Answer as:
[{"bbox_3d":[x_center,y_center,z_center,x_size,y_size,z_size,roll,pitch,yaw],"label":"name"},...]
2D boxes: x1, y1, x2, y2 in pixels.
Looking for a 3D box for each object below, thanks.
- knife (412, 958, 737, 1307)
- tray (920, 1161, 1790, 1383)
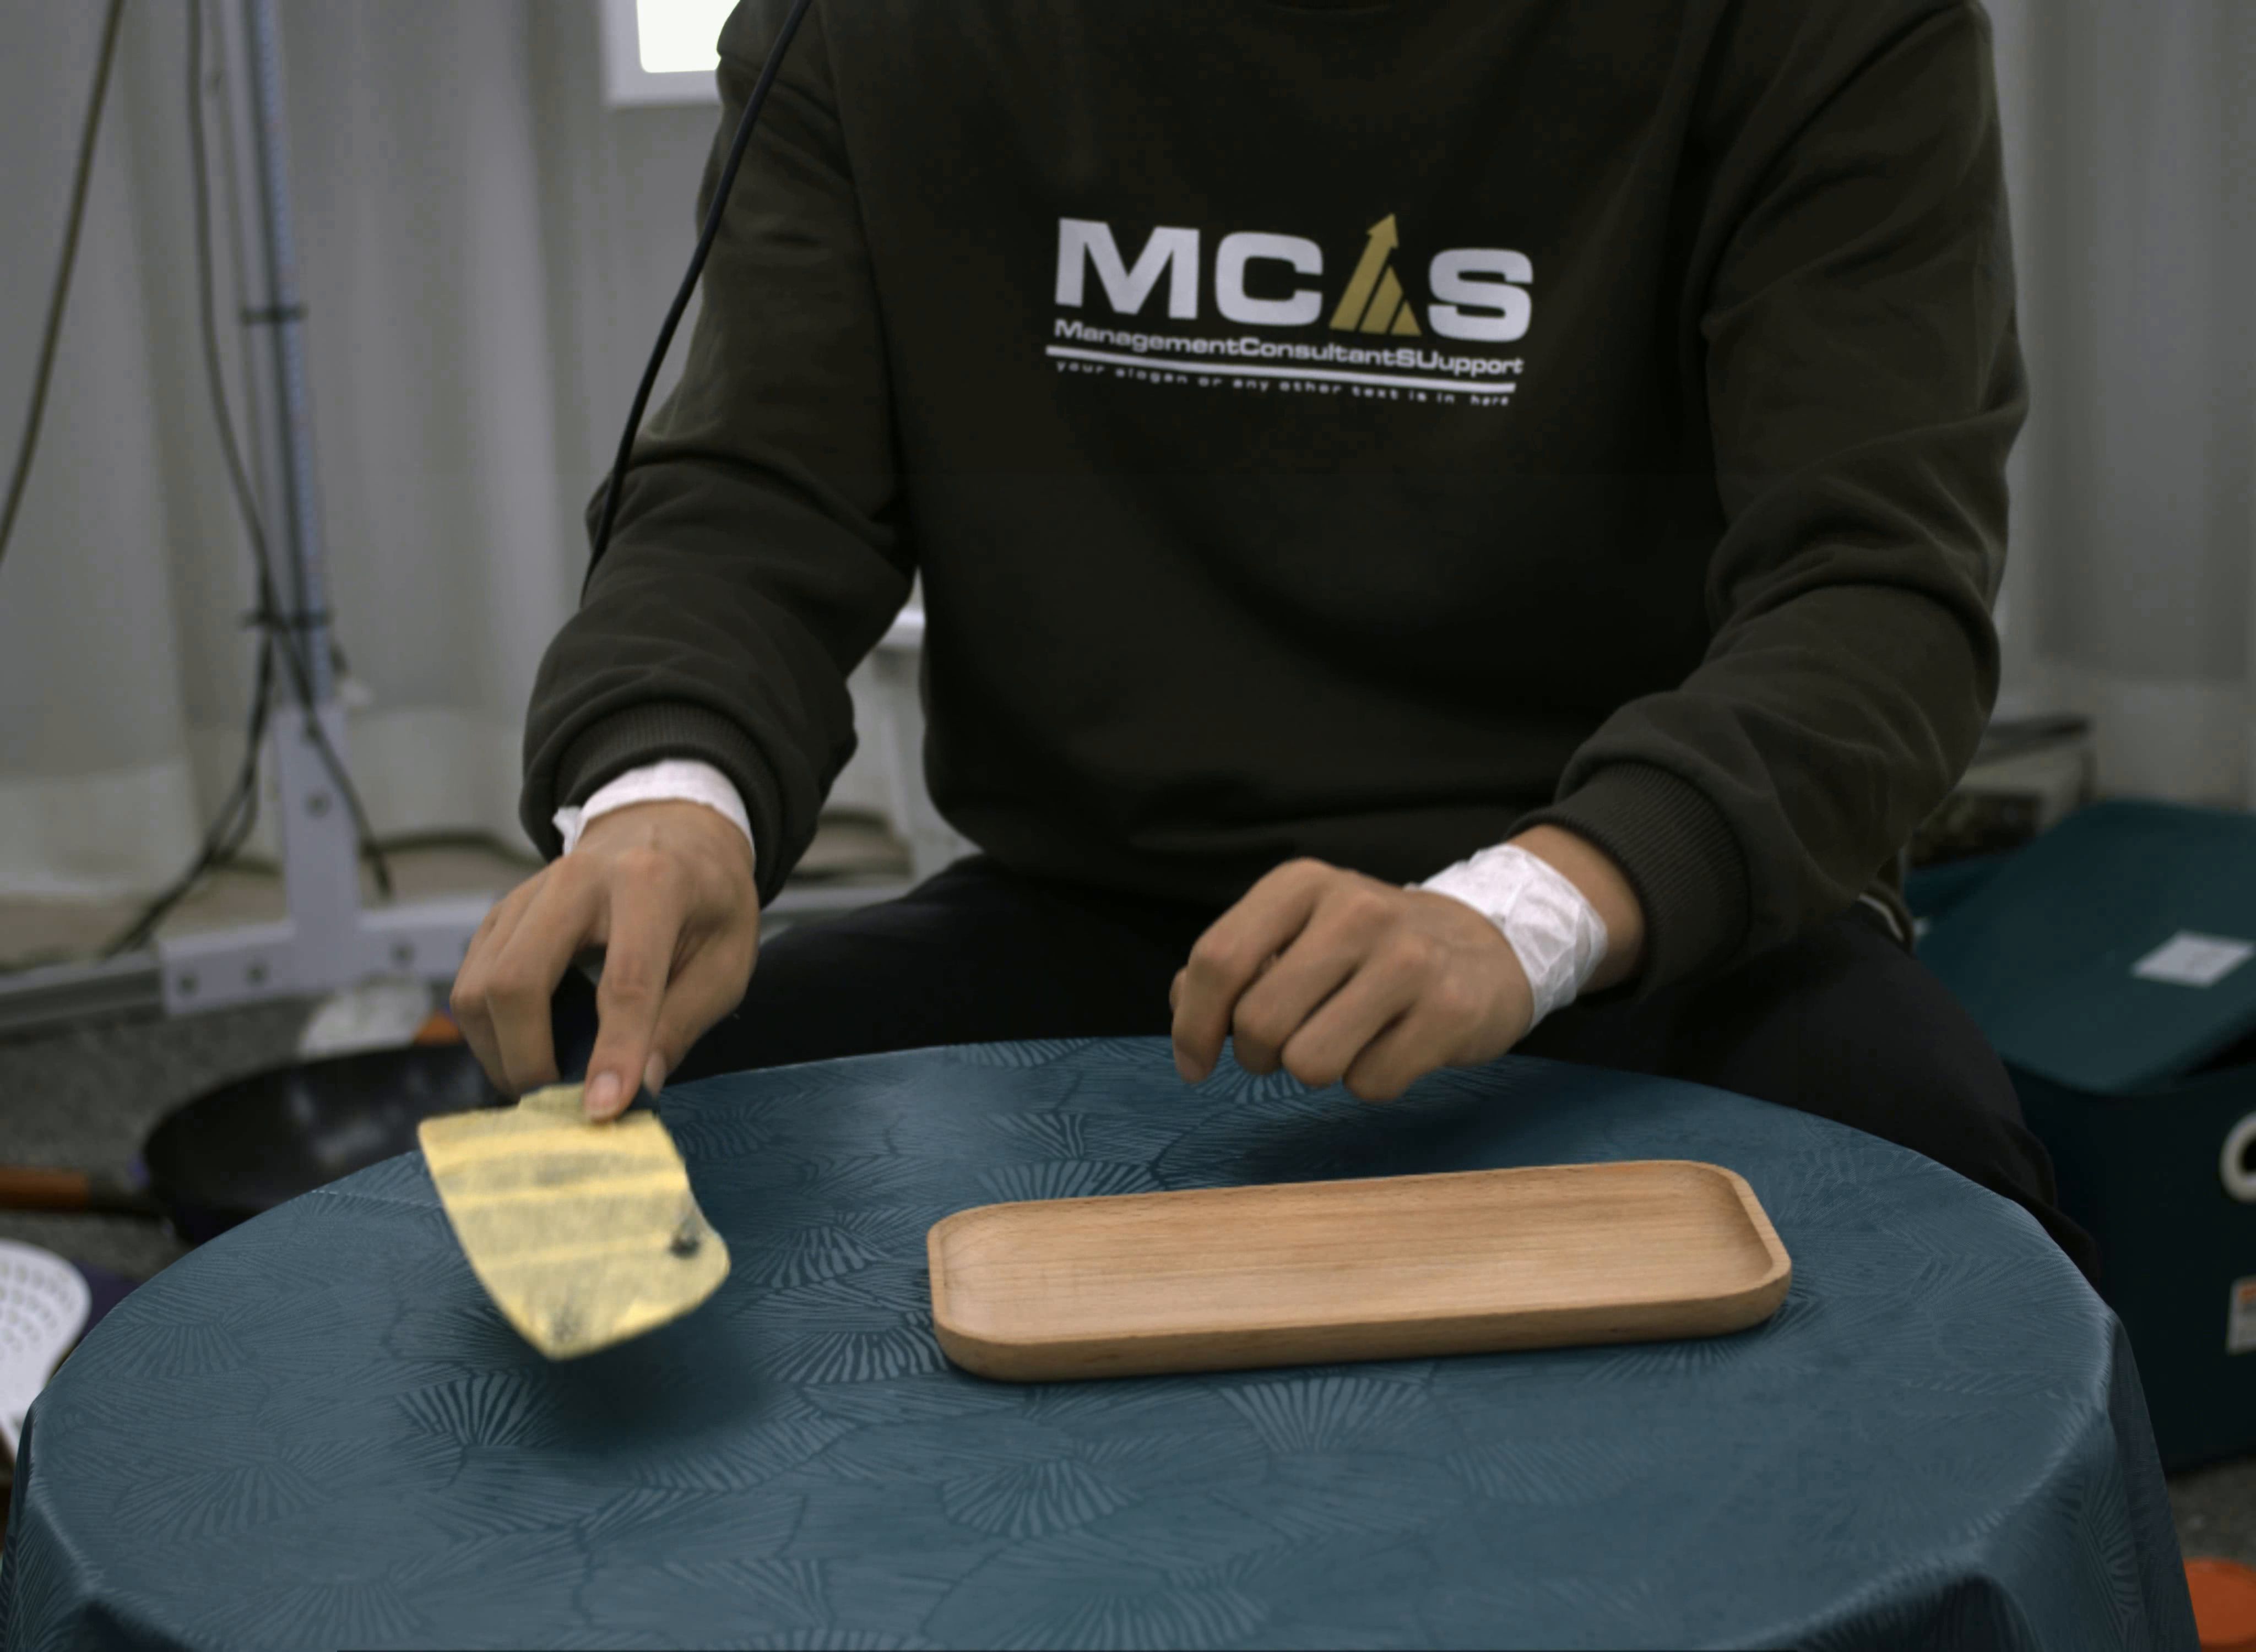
[{"bbox_3d":[-0.173,0.092,1.642,0.080,0.027,0.292,-1,16,-13],"label":"knife"},{"bbox_3d":[0.065,0.131,1.611,0.250,0.023,0.131,-4,12,-3],"label":"tray"}]
